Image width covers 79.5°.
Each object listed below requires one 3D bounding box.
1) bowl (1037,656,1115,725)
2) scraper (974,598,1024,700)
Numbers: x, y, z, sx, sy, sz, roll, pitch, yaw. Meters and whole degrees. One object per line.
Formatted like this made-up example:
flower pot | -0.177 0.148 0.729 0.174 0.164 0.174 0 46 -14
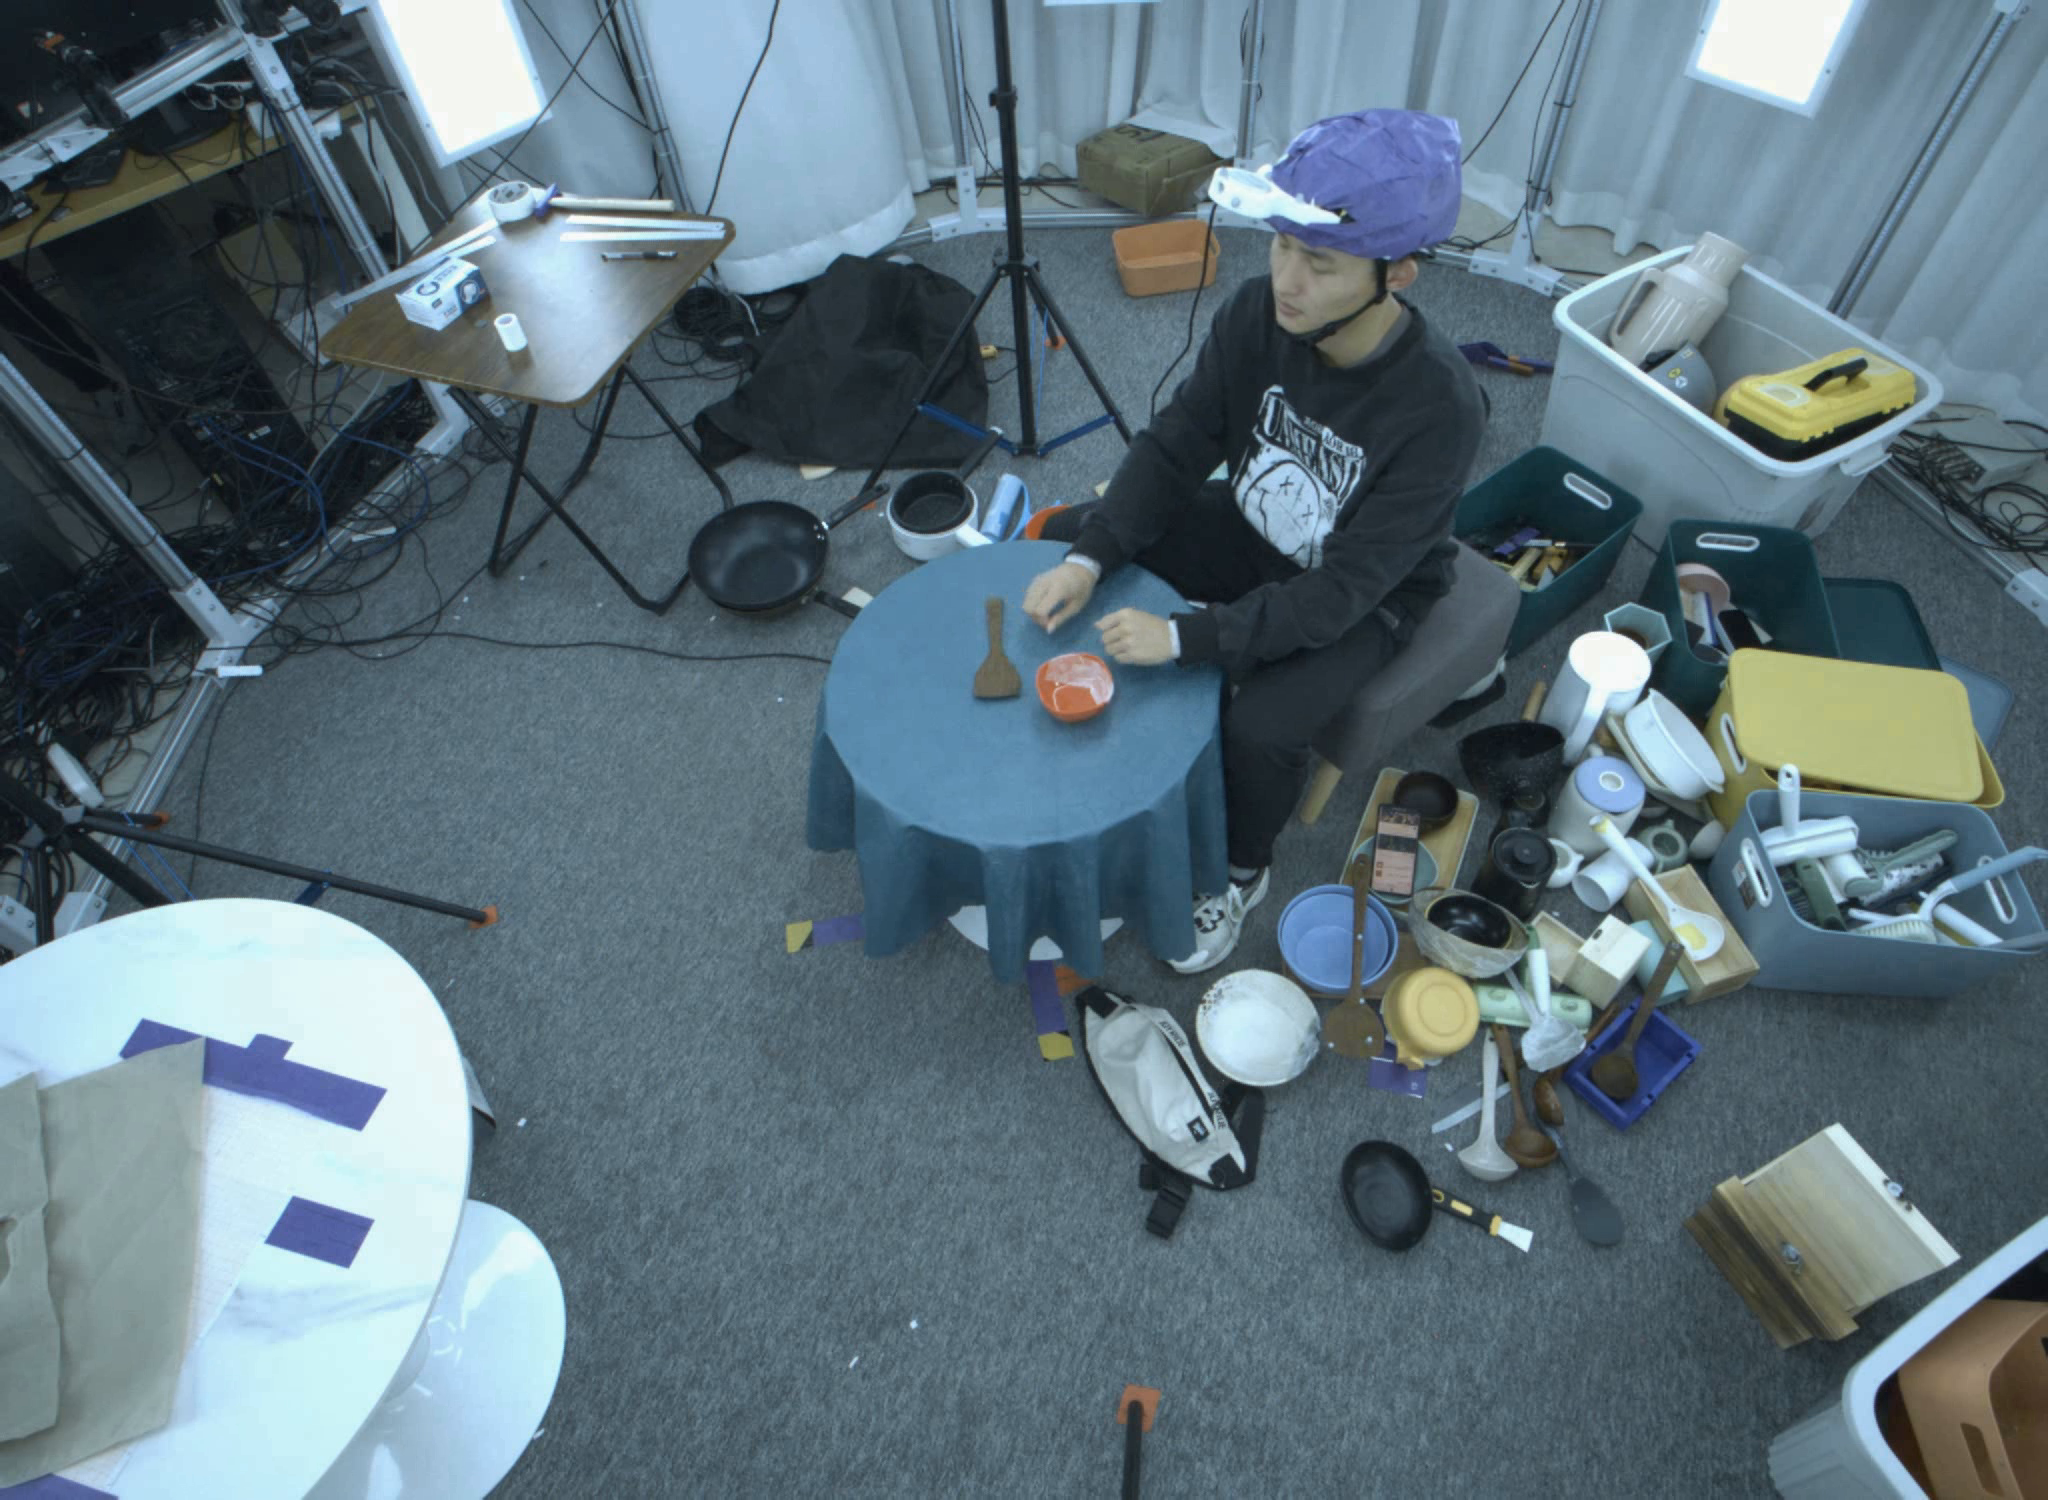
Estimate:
bowl | 0.077 -0.080 1.822 0.119 0.052 0.117 -1 55 3
scraper | -0.042 -0.158 1.905 0.076 0.011 0.209 -3 54 -1
